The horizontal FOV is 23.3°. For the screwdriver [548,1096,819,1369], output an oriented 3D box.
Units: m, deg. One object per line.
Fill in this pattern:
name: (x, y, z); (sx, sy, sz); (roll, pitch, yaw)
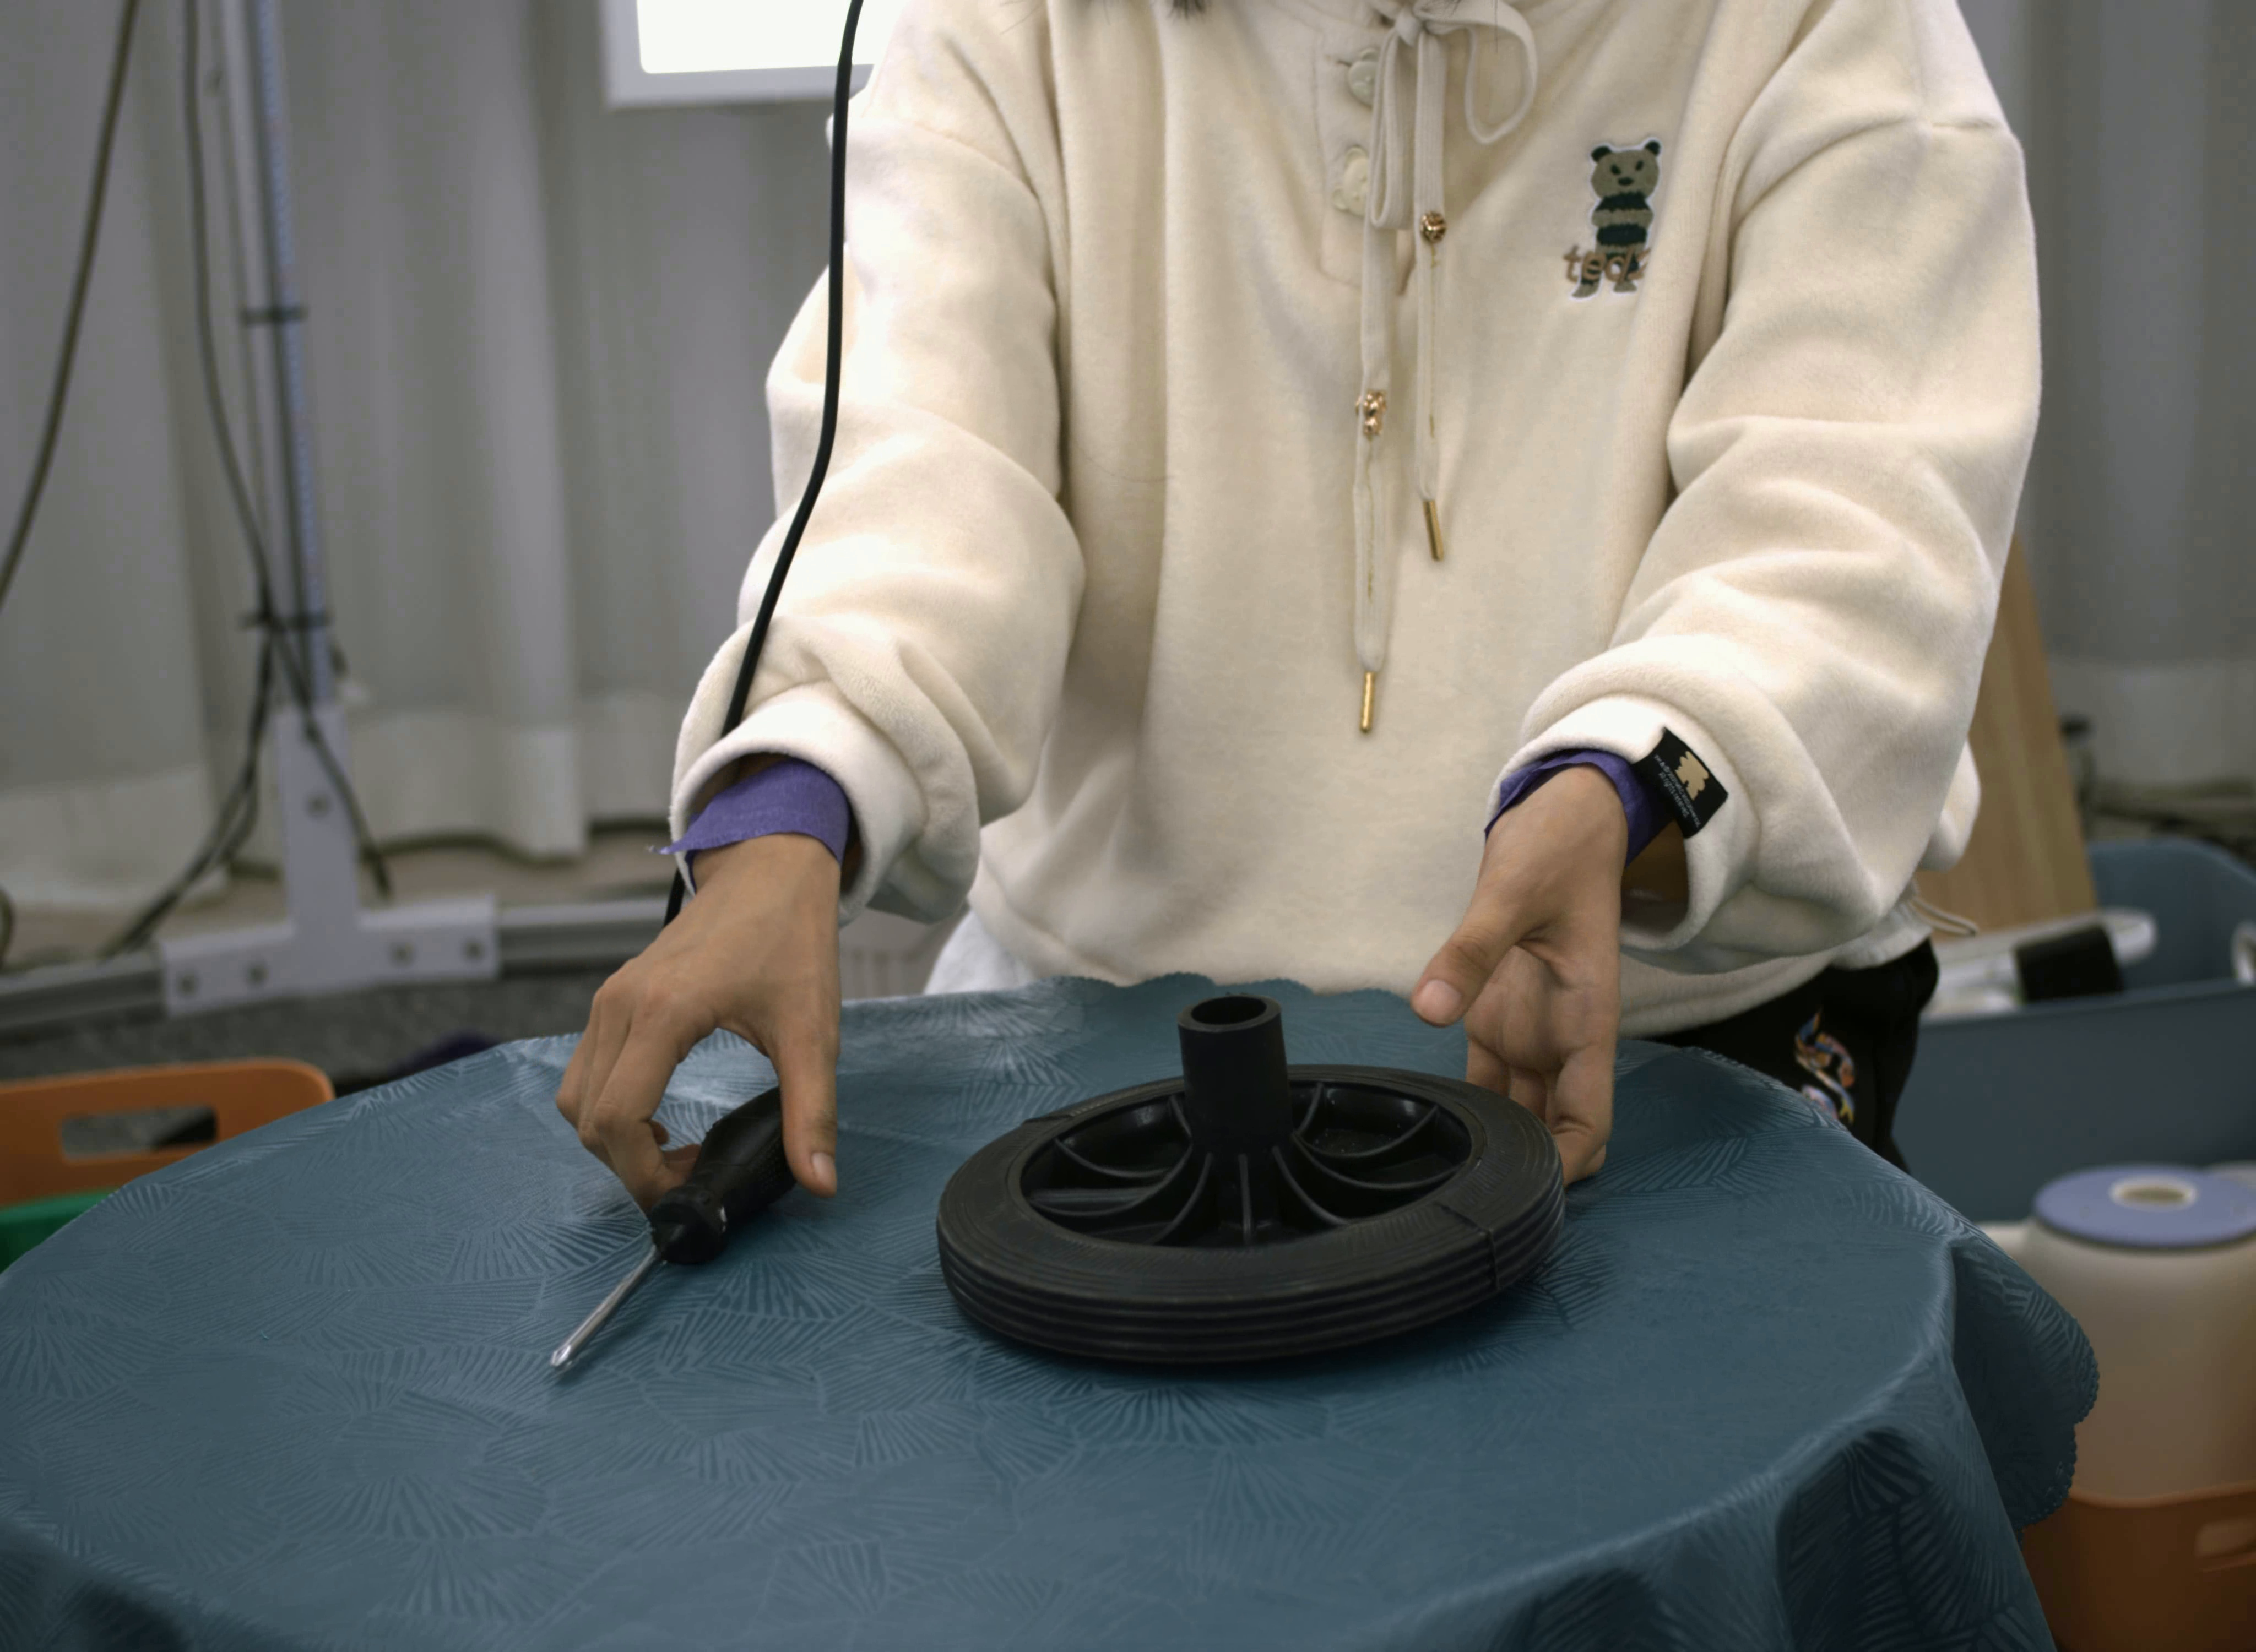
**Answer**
screwdriver: (-0.133, 0.124, 1.659); (0.031, 0.031, 0.197); (1, 17, 15)

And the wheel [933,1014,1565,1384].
wheel: (0.033, 0.098, 1.623); (0.189, 0.078, 0.189); (-12, 18, -9)
